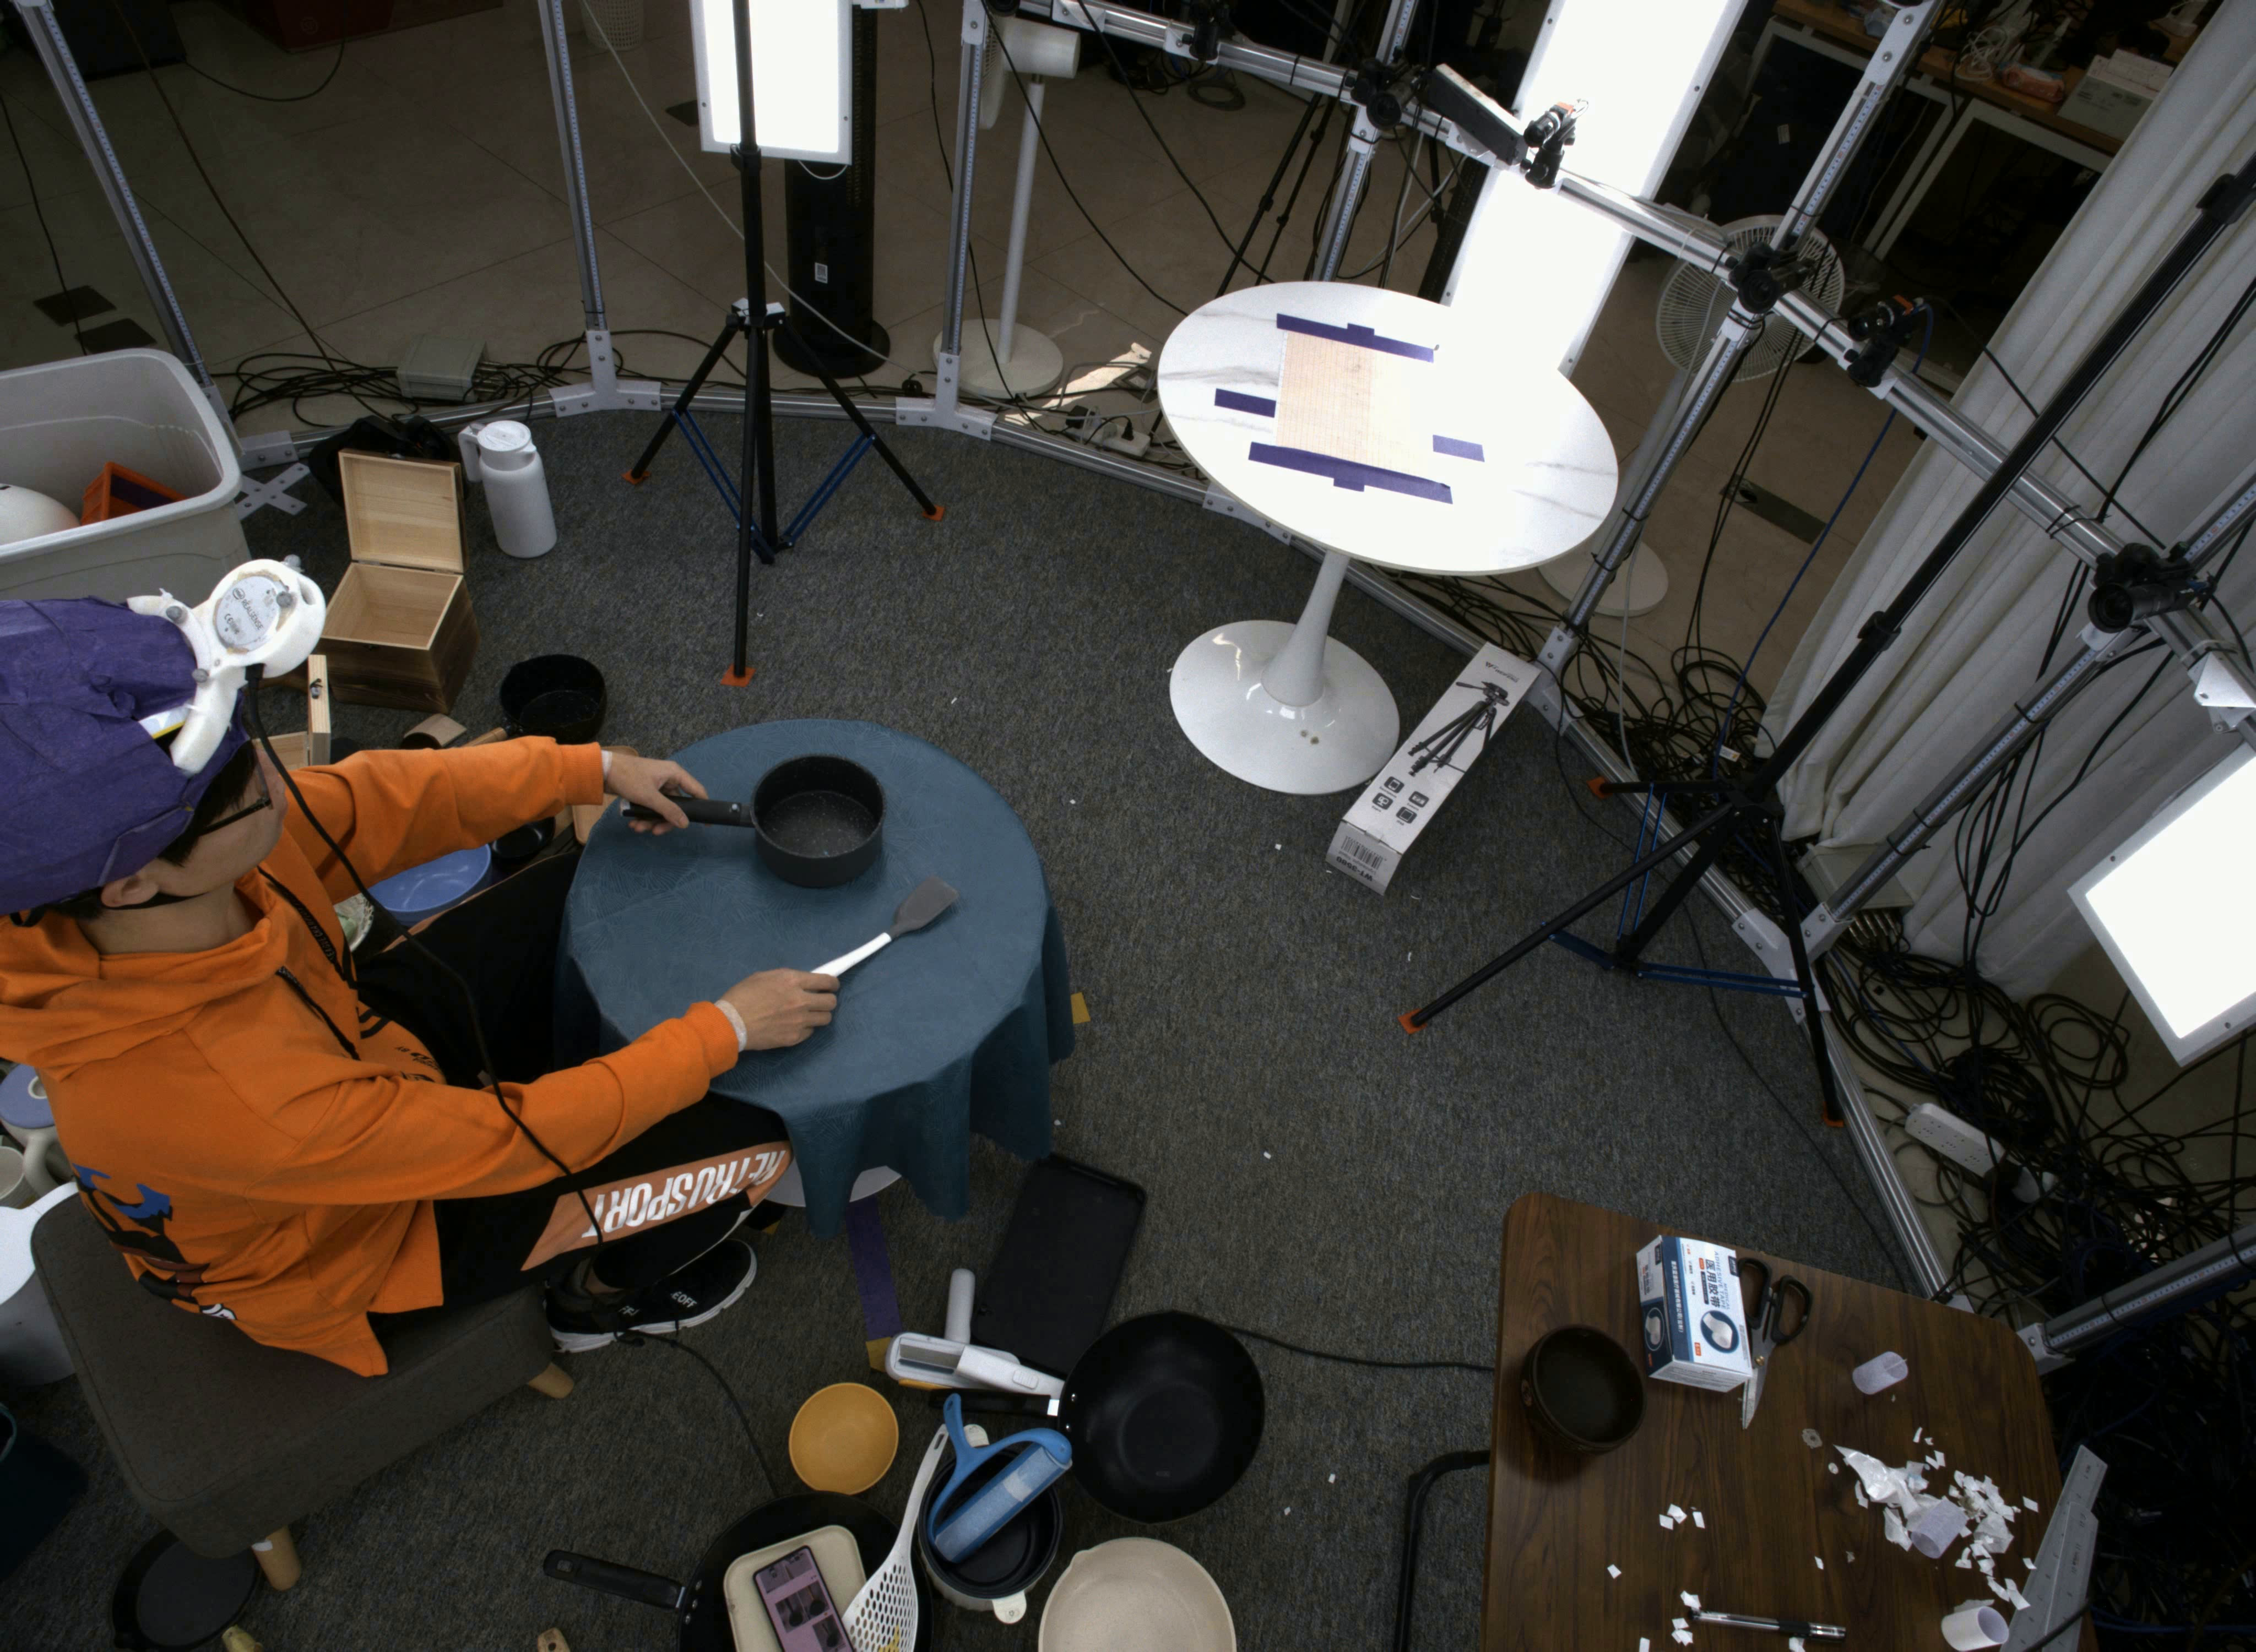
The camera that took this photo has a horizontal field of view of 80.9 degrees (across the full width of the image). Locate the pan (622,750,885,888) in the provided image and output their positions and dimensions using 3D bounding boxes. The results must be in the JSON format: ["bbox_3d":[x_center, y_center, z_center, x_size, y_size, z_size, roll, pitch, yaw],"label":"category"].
[{"bbox_3d":[-0.478,-0.011,1.653,0.330,0.088,0.168,3,52,-15],"label":"pan"}]

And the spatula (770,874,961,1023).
[{"bbox_3d":[-0.322,0.146,1.606,0.057,0.033,0.288,28,45,27],"label":"spatula"}]
